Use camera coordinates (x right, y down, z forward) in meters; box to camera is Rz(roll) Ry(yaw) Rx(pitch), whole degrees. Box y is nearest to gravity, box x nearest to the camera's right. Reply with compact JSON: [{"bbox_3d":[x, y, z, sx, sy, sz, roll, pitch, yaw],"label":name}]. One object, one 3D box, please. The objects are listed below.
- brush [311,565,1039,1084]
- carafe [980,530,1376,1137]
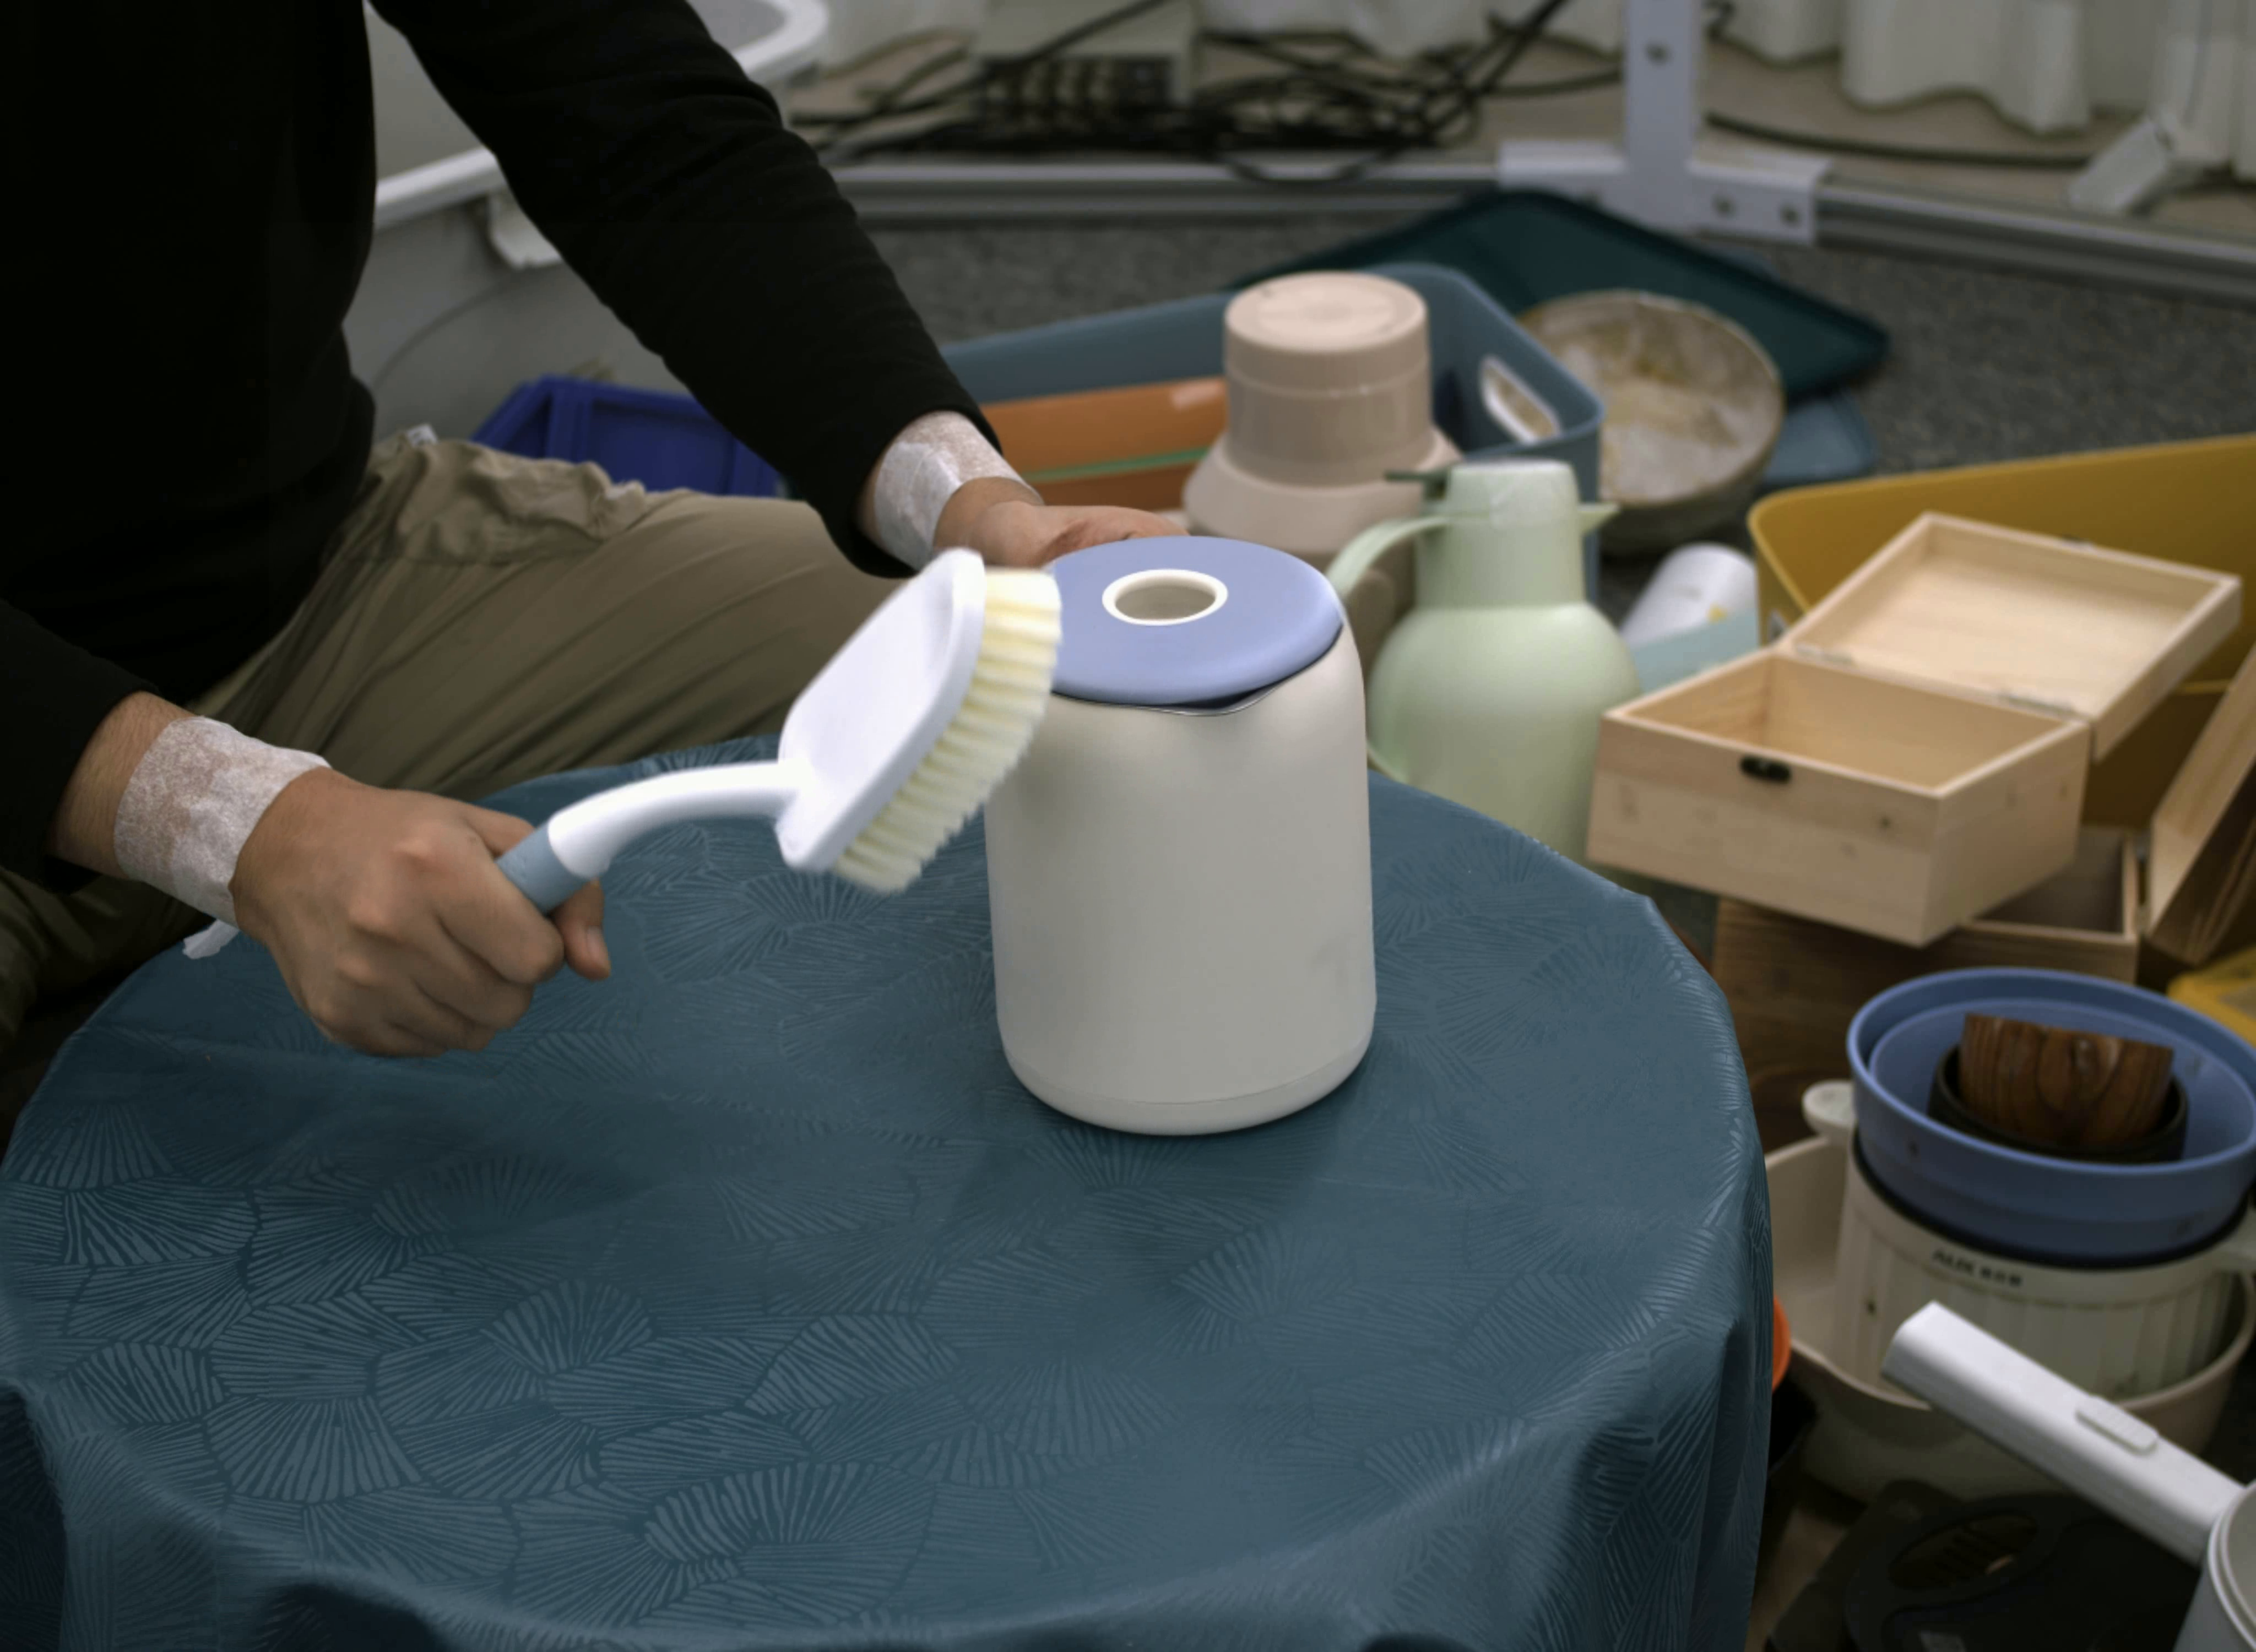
[{"bbox_3d":[-0.137,0.013,1.828,0.320,0.084,0.084,-35,4,31],"label":"brush"},{"bbox_3d":[0.009,-0.008,1.927,0.132,0.181,0.193,-10,26,-15],"label":"carafe"}]
